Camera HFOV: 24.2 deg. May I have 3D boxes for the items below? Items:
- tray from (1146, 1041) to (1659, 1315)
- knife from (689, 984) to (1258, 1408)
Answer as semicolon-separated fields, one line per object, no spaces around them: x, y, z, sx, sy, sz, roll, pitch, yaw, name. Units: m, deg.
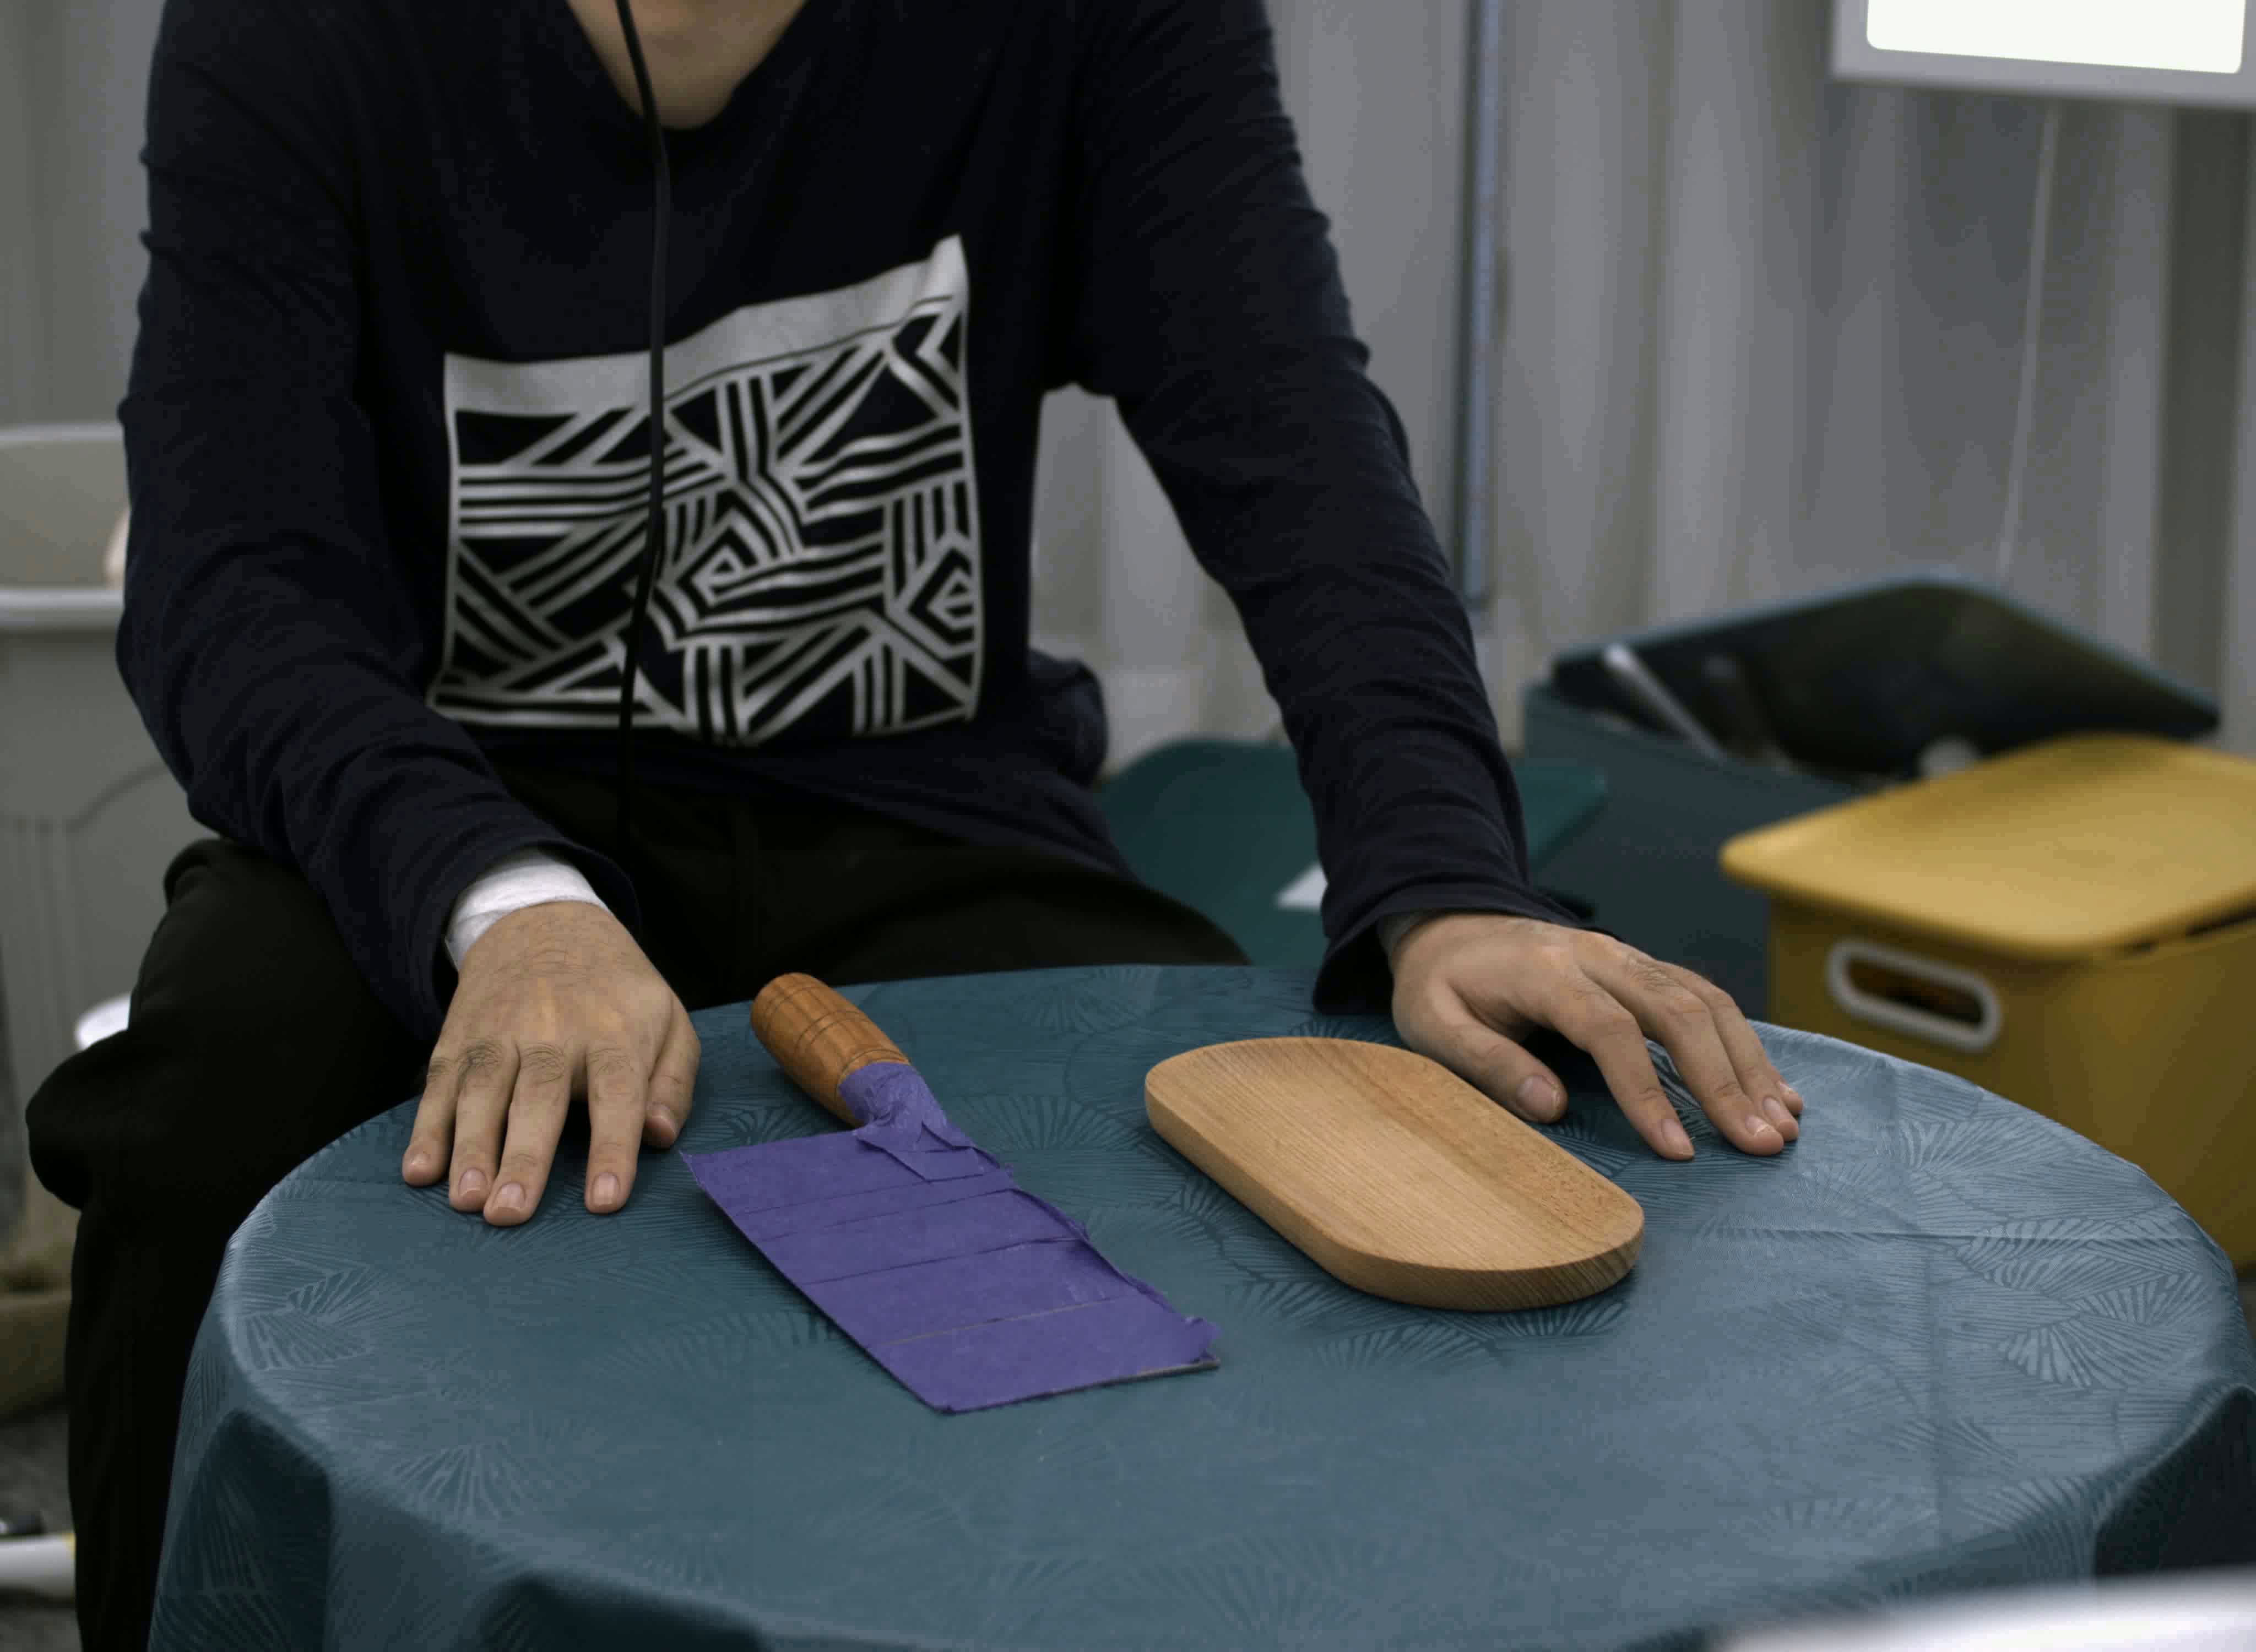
0.081;0.106;1.621;0.102;0.020;0.228;-7;18;-22;tray
-0.075;0.108;1.589;0.104;0.032;0.311;-6;17;-25;knife
